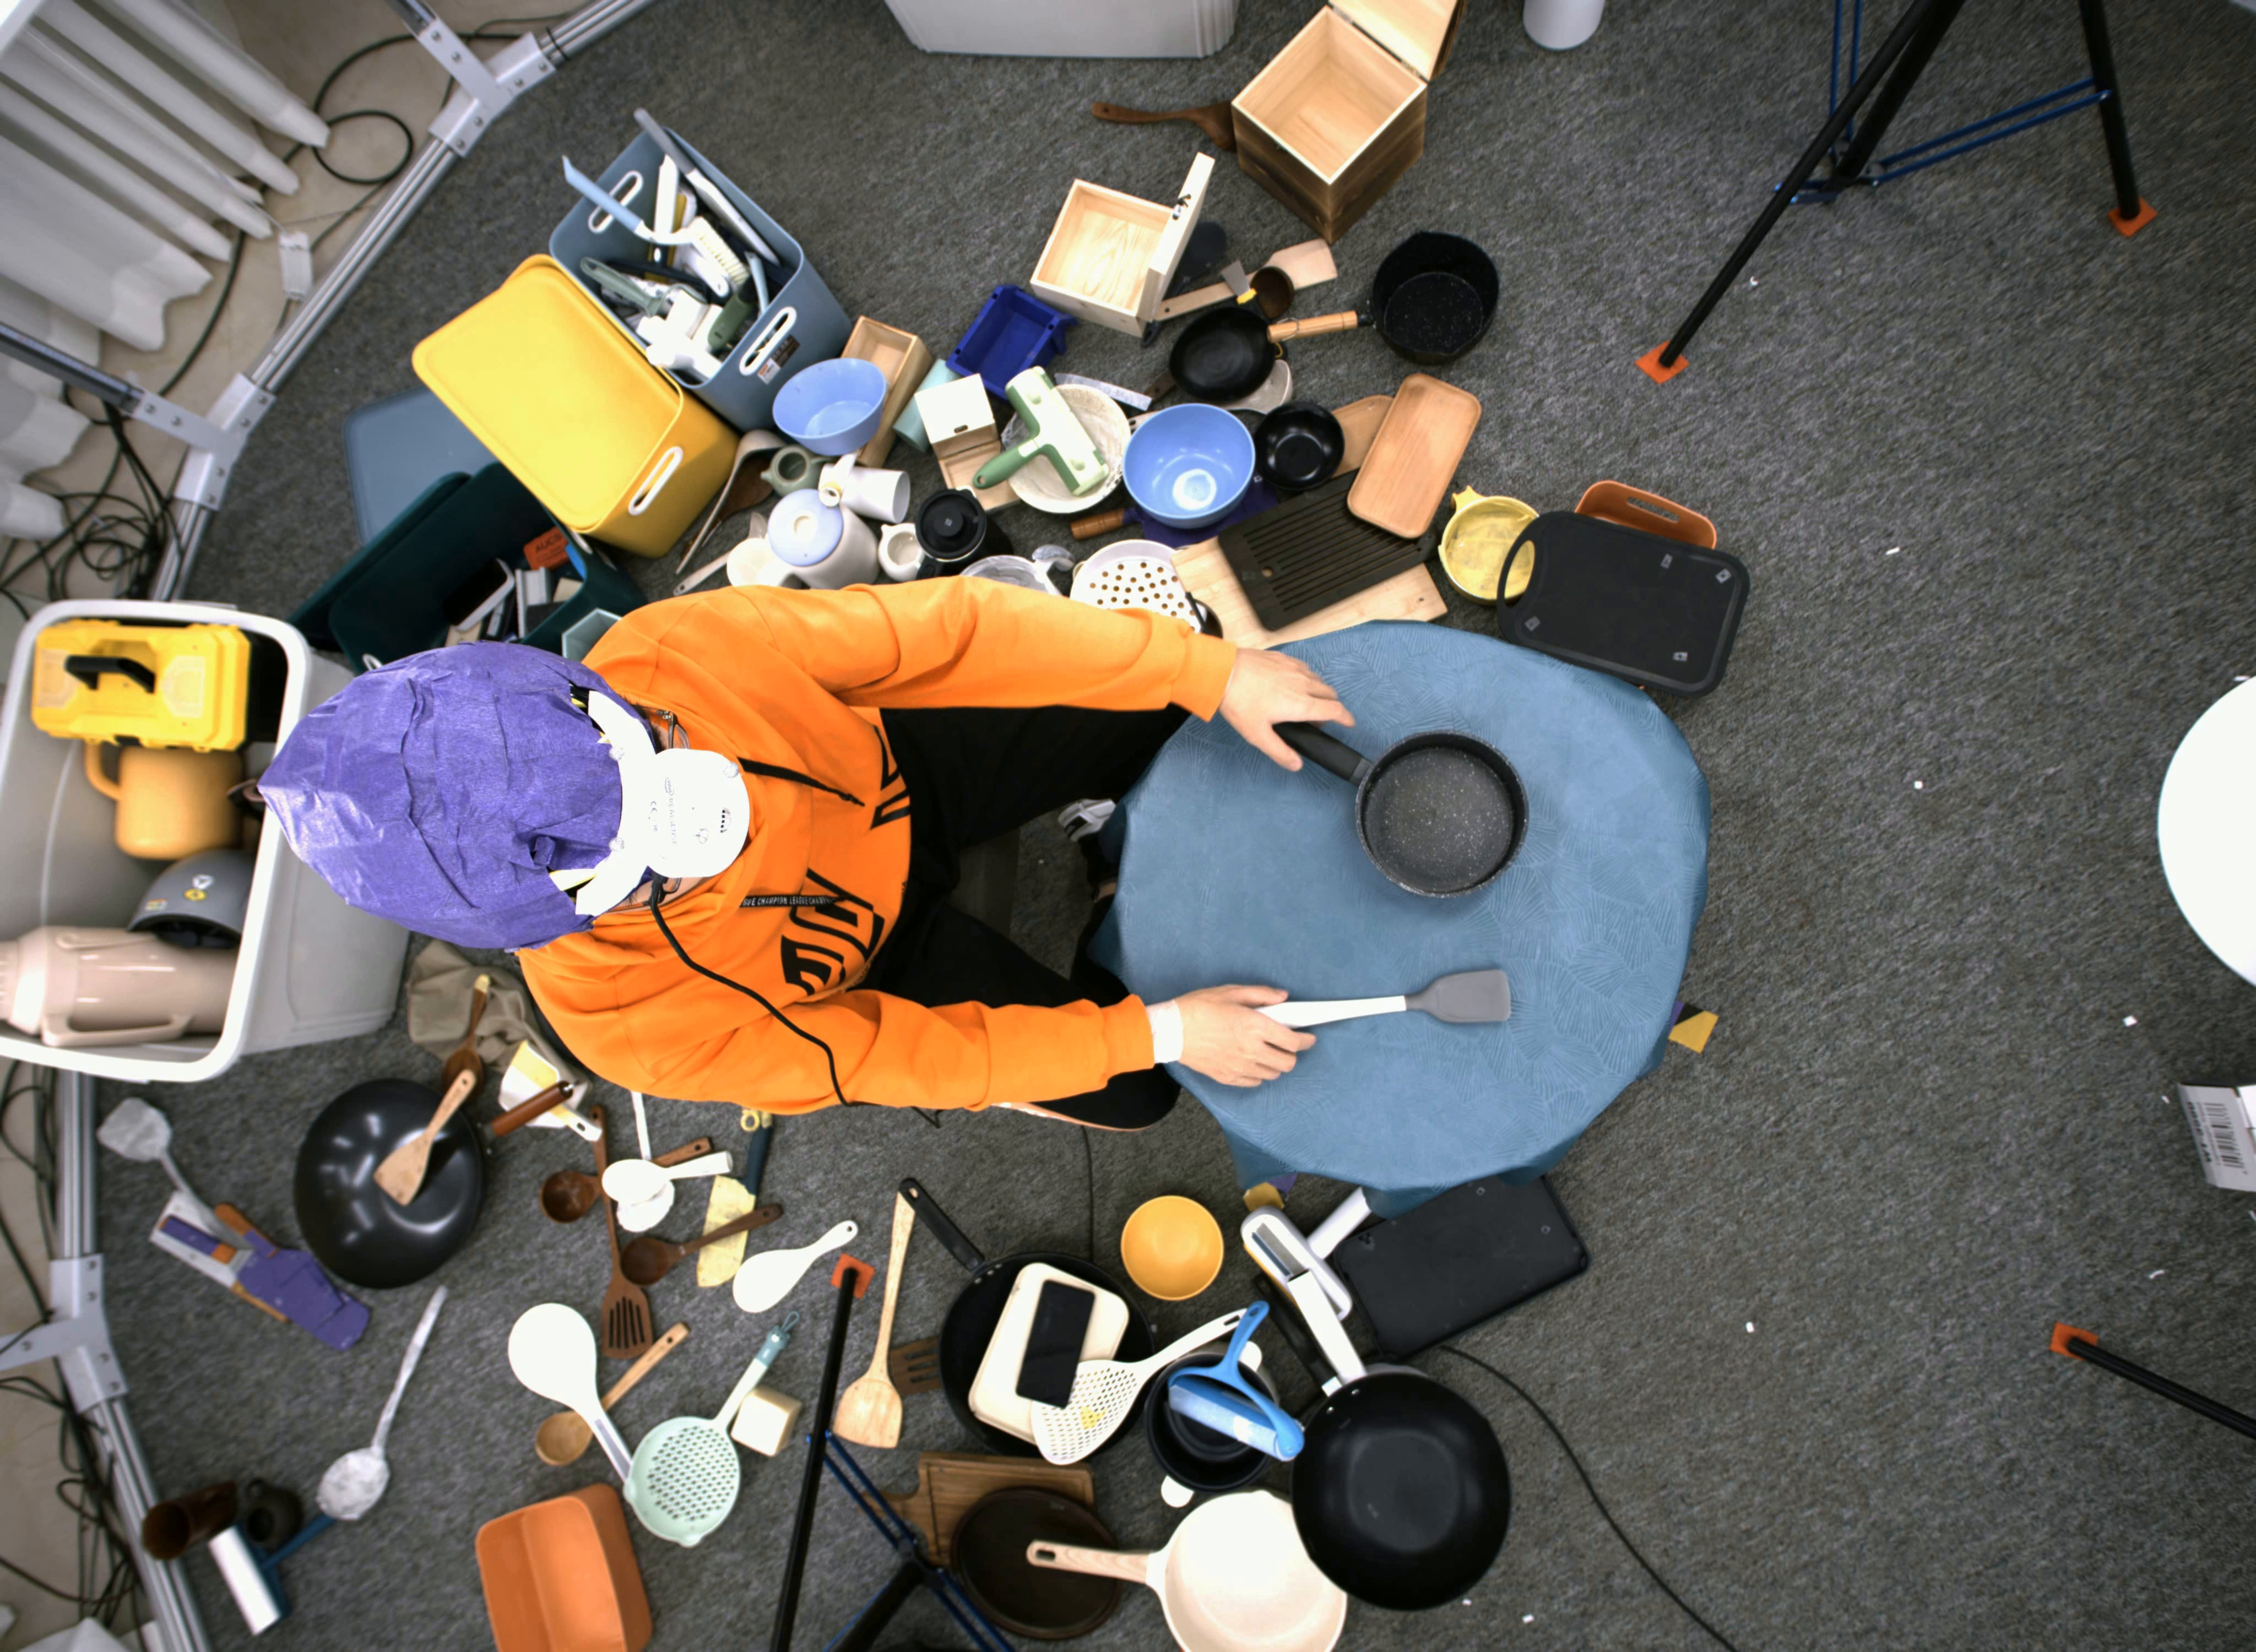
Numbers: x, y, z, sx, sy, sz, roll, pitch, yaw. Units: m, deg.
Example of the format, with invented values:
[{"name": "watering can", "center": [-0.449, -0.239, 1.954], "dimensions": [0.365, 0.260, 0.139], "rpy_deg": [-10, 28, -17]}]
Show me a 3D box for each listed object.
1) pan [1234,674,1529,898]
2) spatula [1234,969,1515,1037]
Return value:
[{"name": "pan", "center": [0.255, -0.053, 1.426], "dimensions": [0.328, 0.086, 0.172], "rpy_deg": [33, 92, 9]}, {"name": "spatula", "center": [0.255, 0.188, 1.440], "dimensions": [0.289, 0.032, 0.058], "rpy_deg": [-7, 82, 11]}]
